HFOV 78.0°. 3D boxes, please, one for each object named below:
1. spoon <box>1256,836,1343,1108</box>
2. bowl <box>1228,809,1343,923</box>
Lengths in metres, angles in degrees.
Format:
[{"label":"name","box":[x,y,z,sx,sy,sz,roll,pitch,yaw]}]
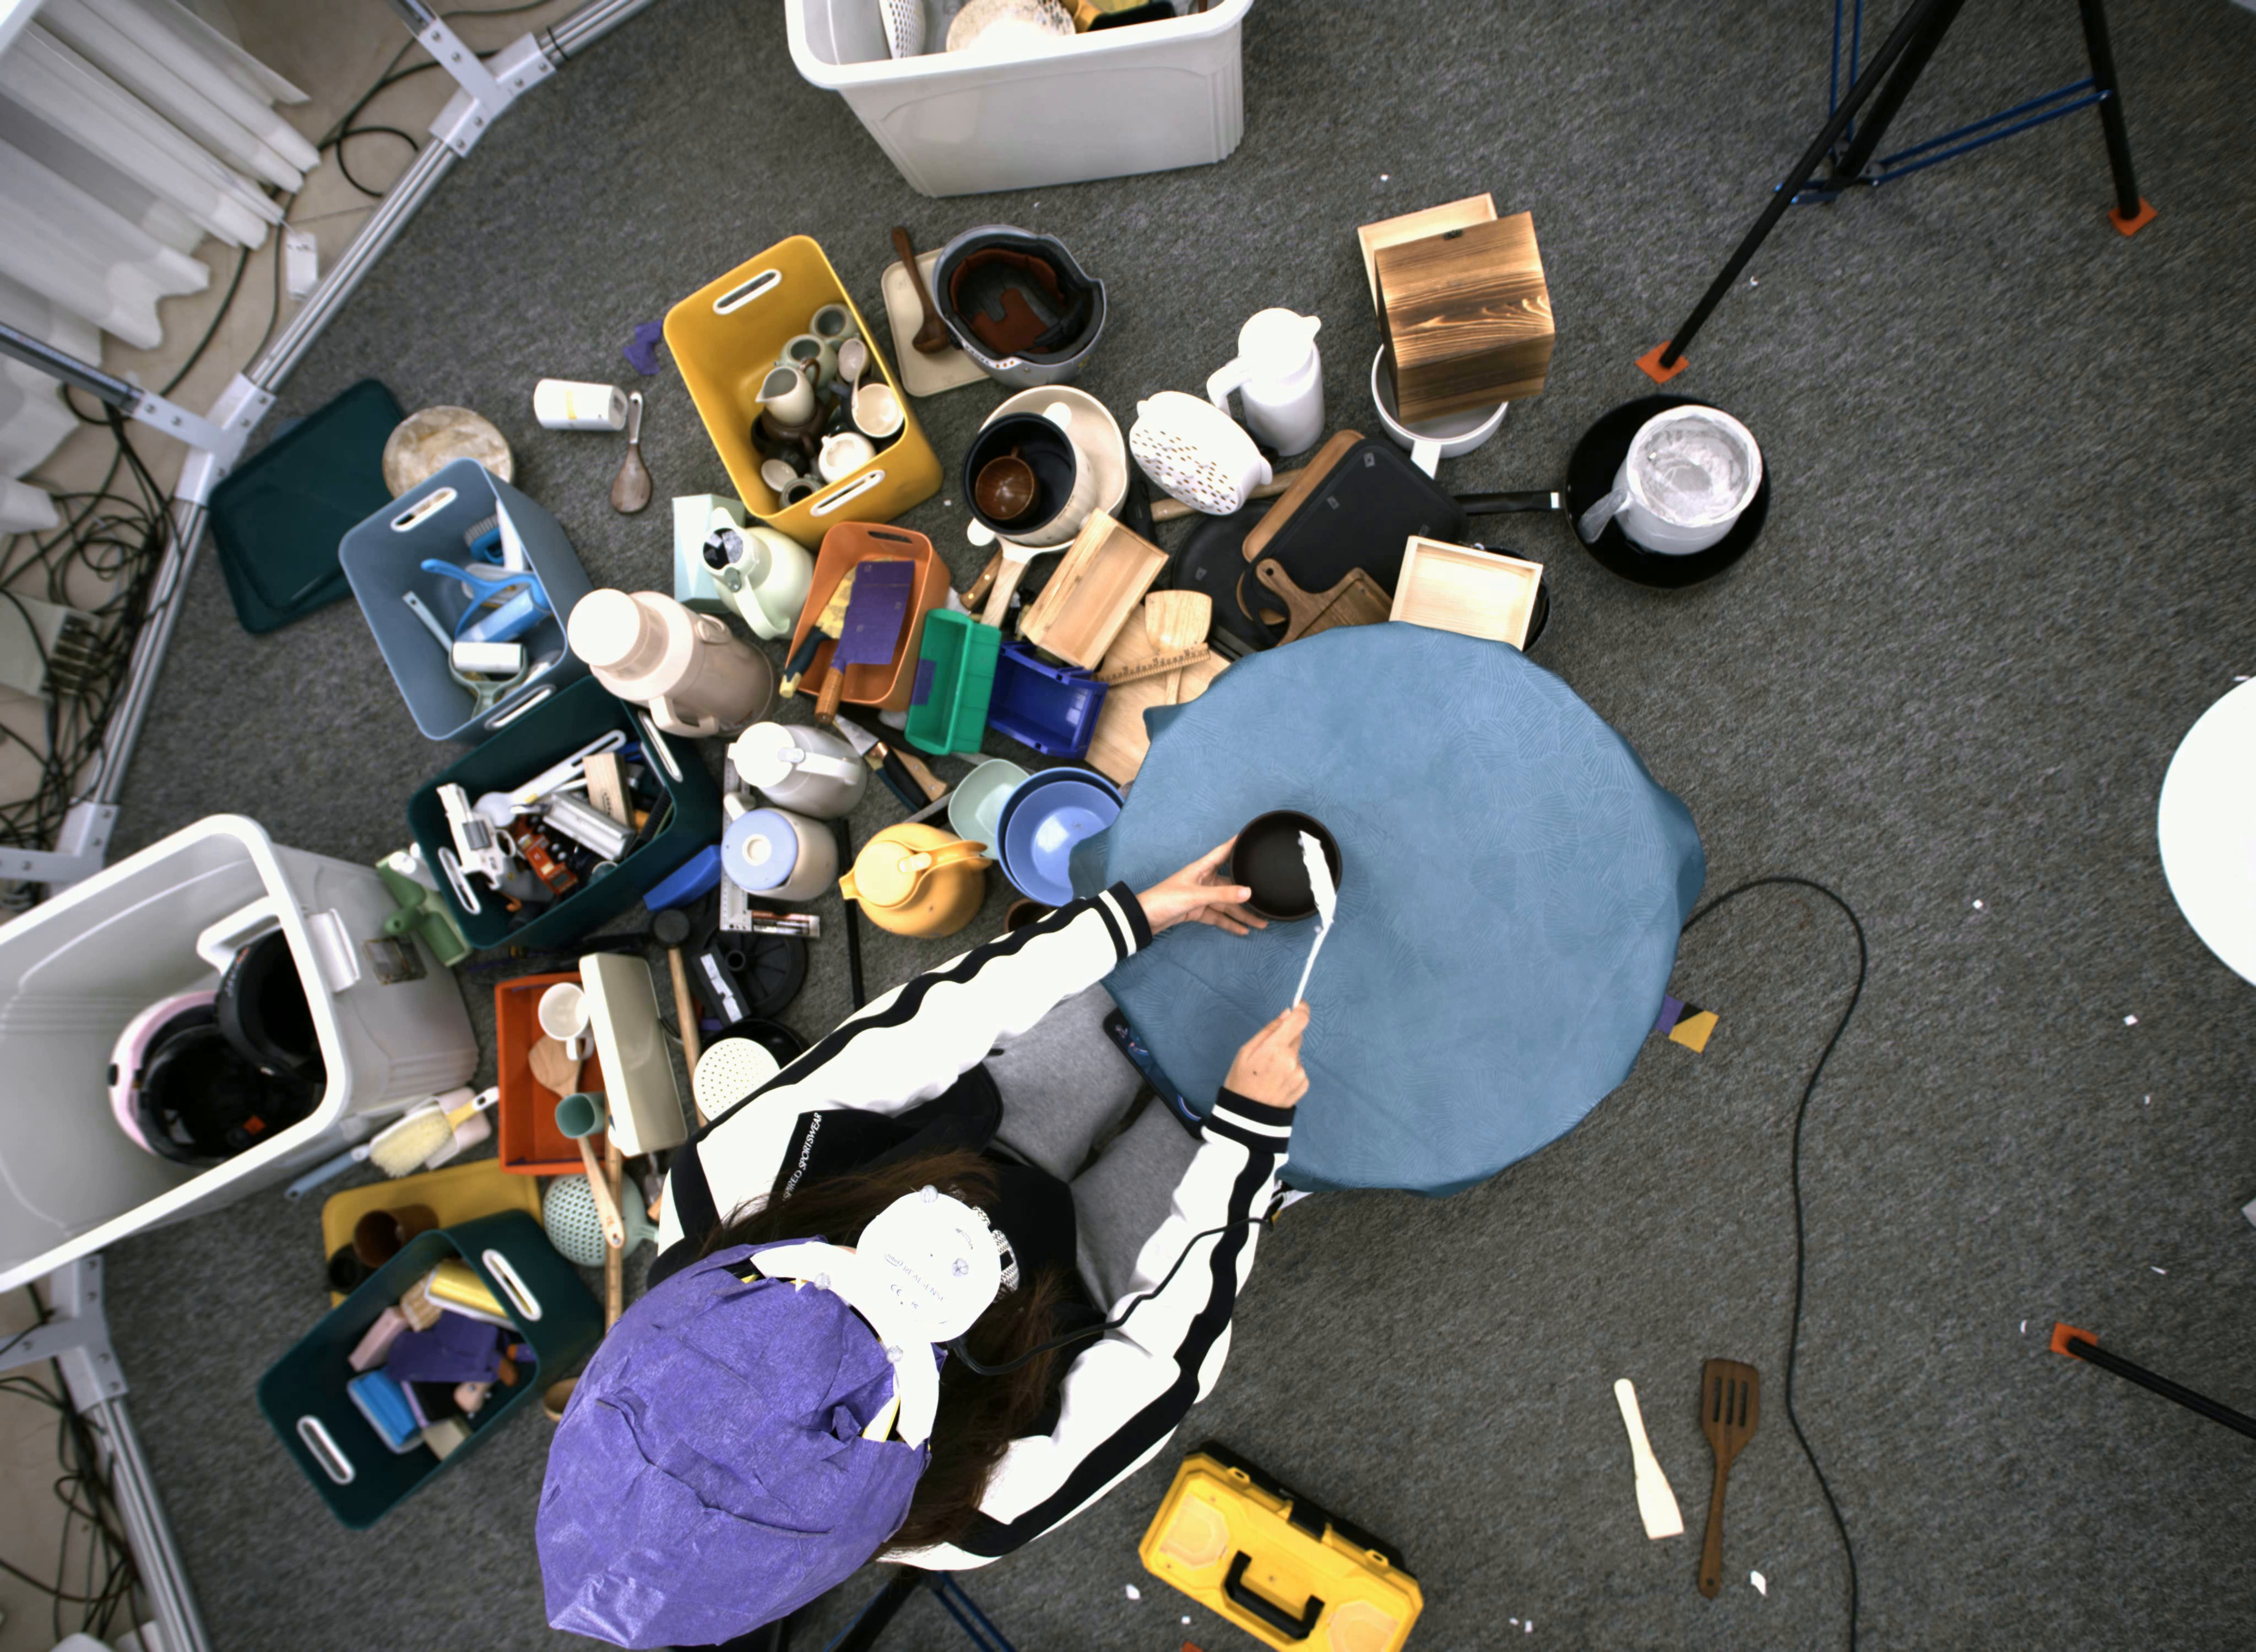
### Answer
[{"label":"spoon","box":[0.152,0.144,1.352,0.059,0.099,0.281,21,108,4]},{"label":"bowl","box":[0.165,0.043,1.444,0.118,0.070,0.117,-1,86,11]}]
